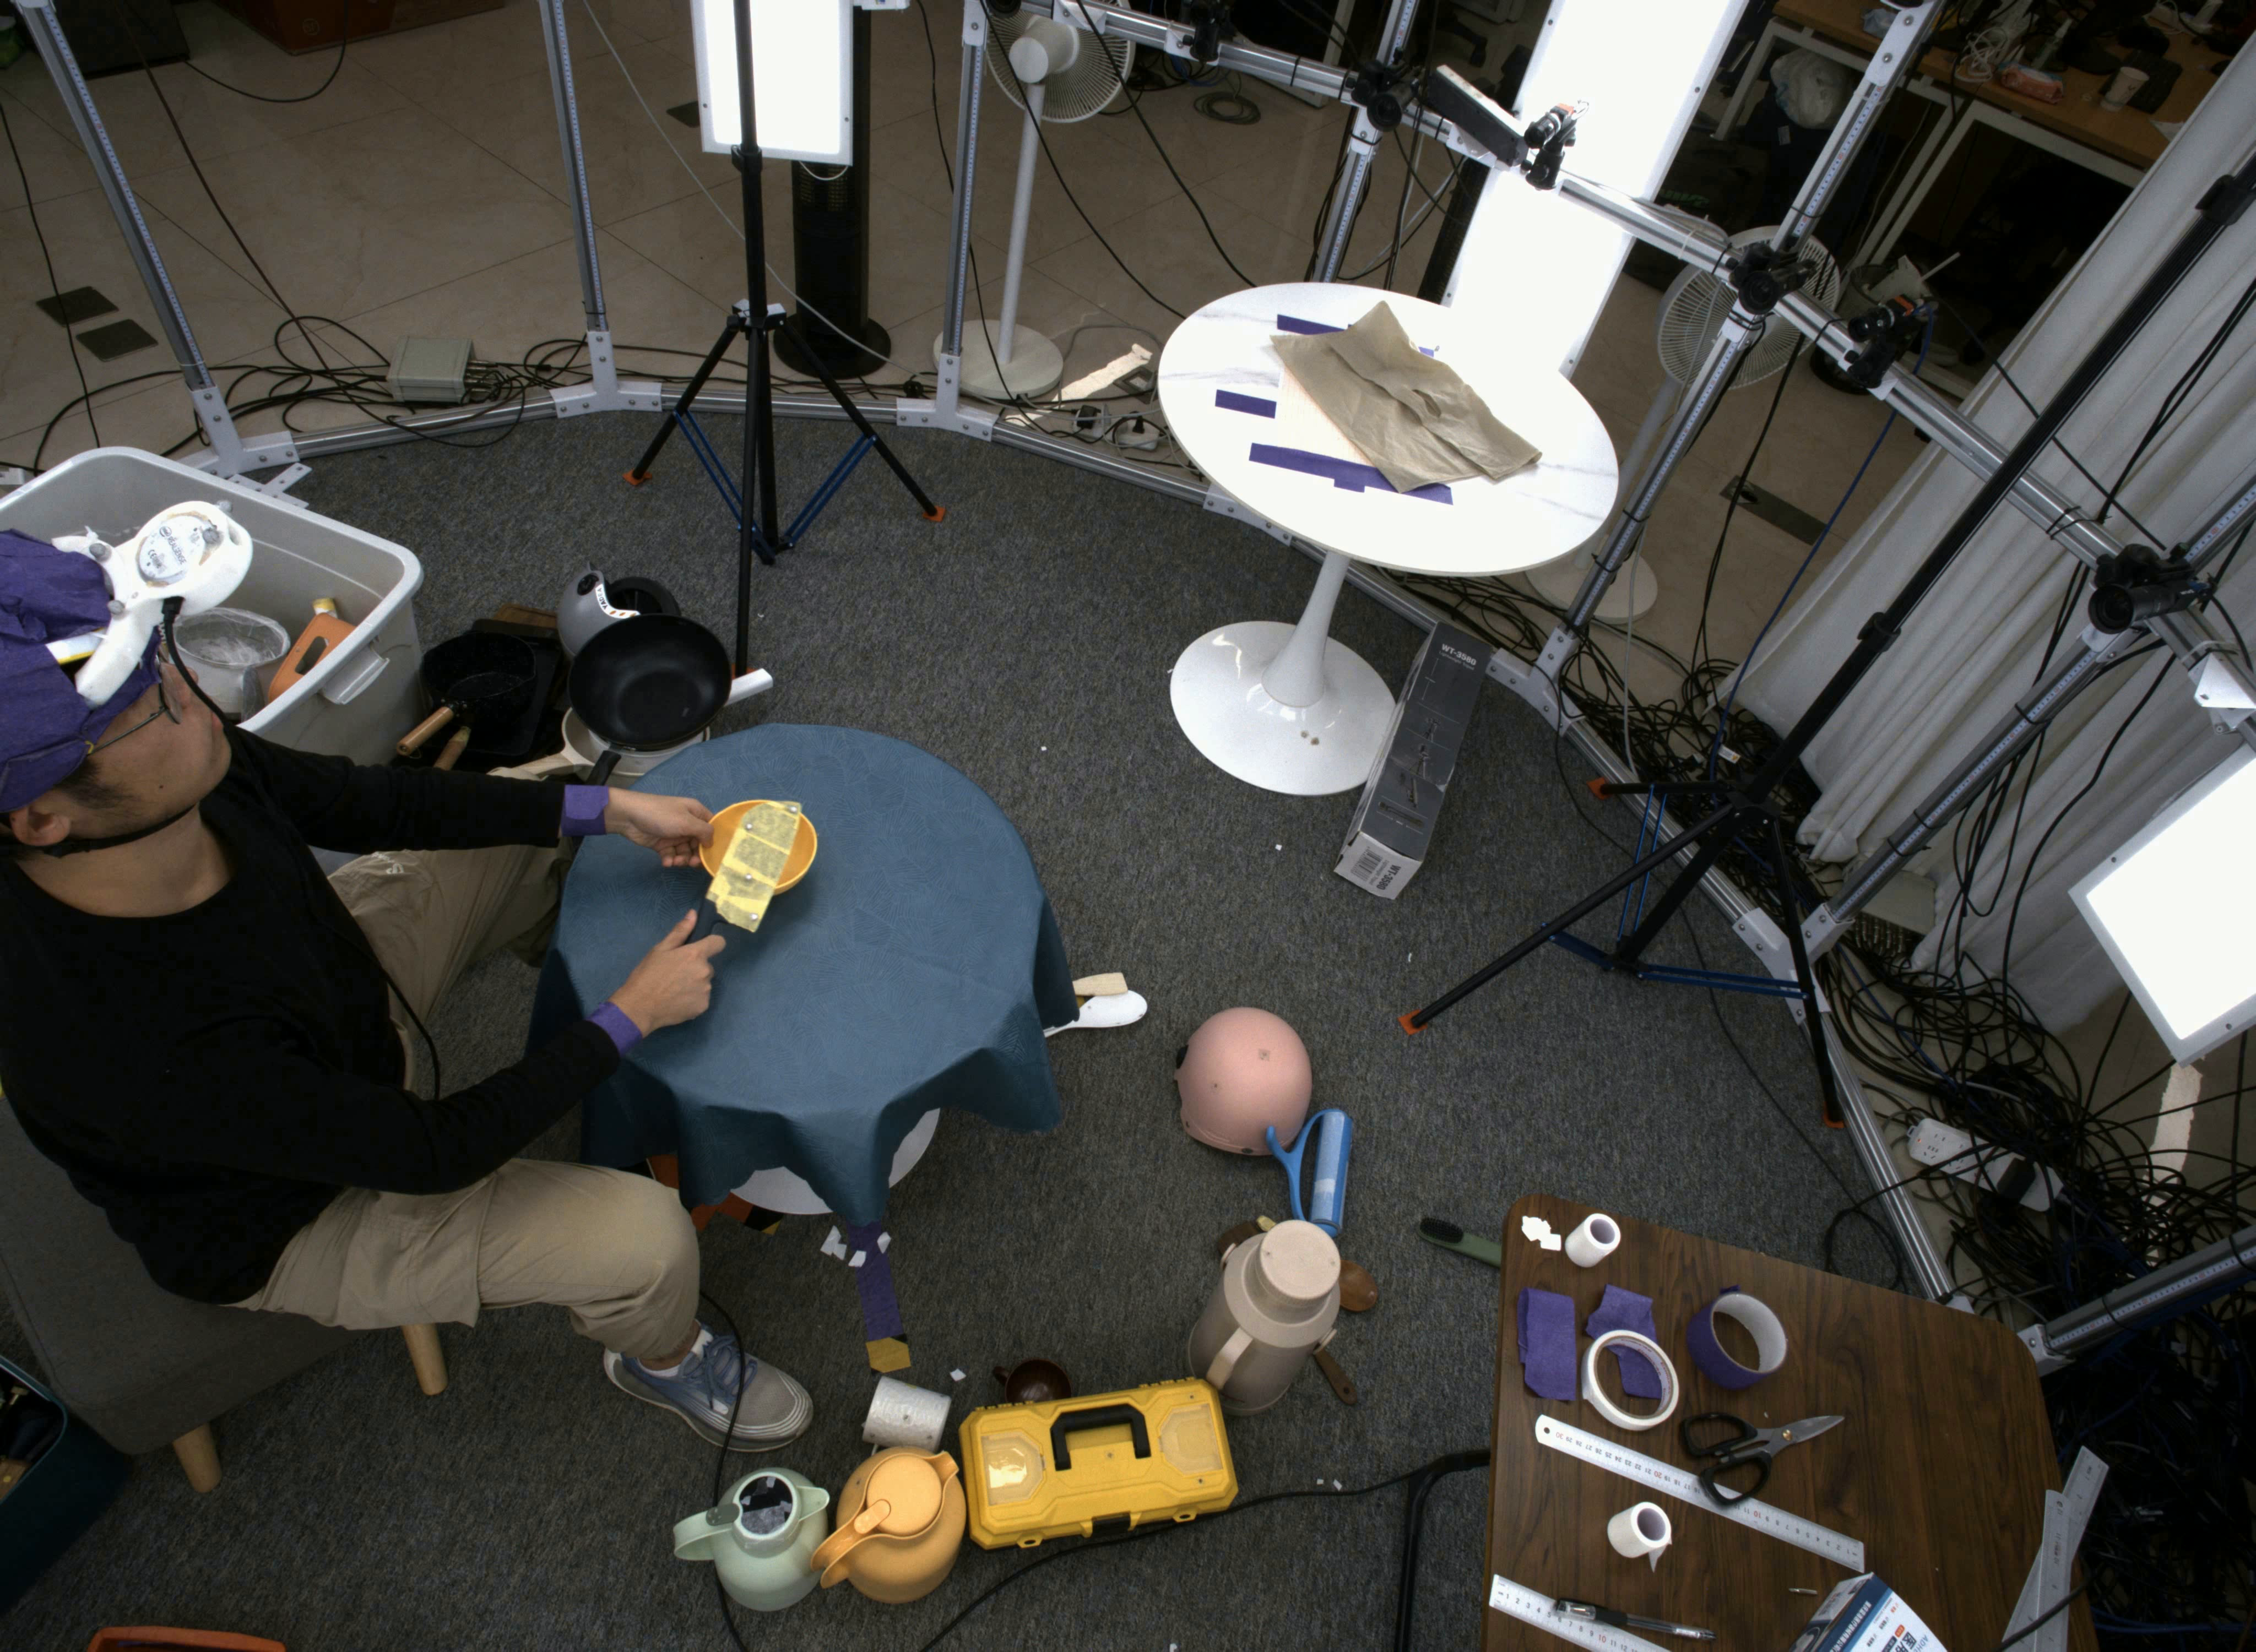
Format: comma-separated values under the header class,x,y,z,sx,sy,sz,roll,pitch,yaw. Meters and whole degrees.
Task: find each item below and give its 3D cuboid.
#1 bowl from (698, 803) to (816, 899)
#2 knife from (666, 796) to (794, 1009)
class,x,y,z,sx,sy,sz,roll,pitch,yaw
bowl,-0.467,0.041,1.638,0.145,0.061,0.142,7,50,-7
knife,-0.477,0.089,1.554,0.083,0.026,0.289,31,68,-24
